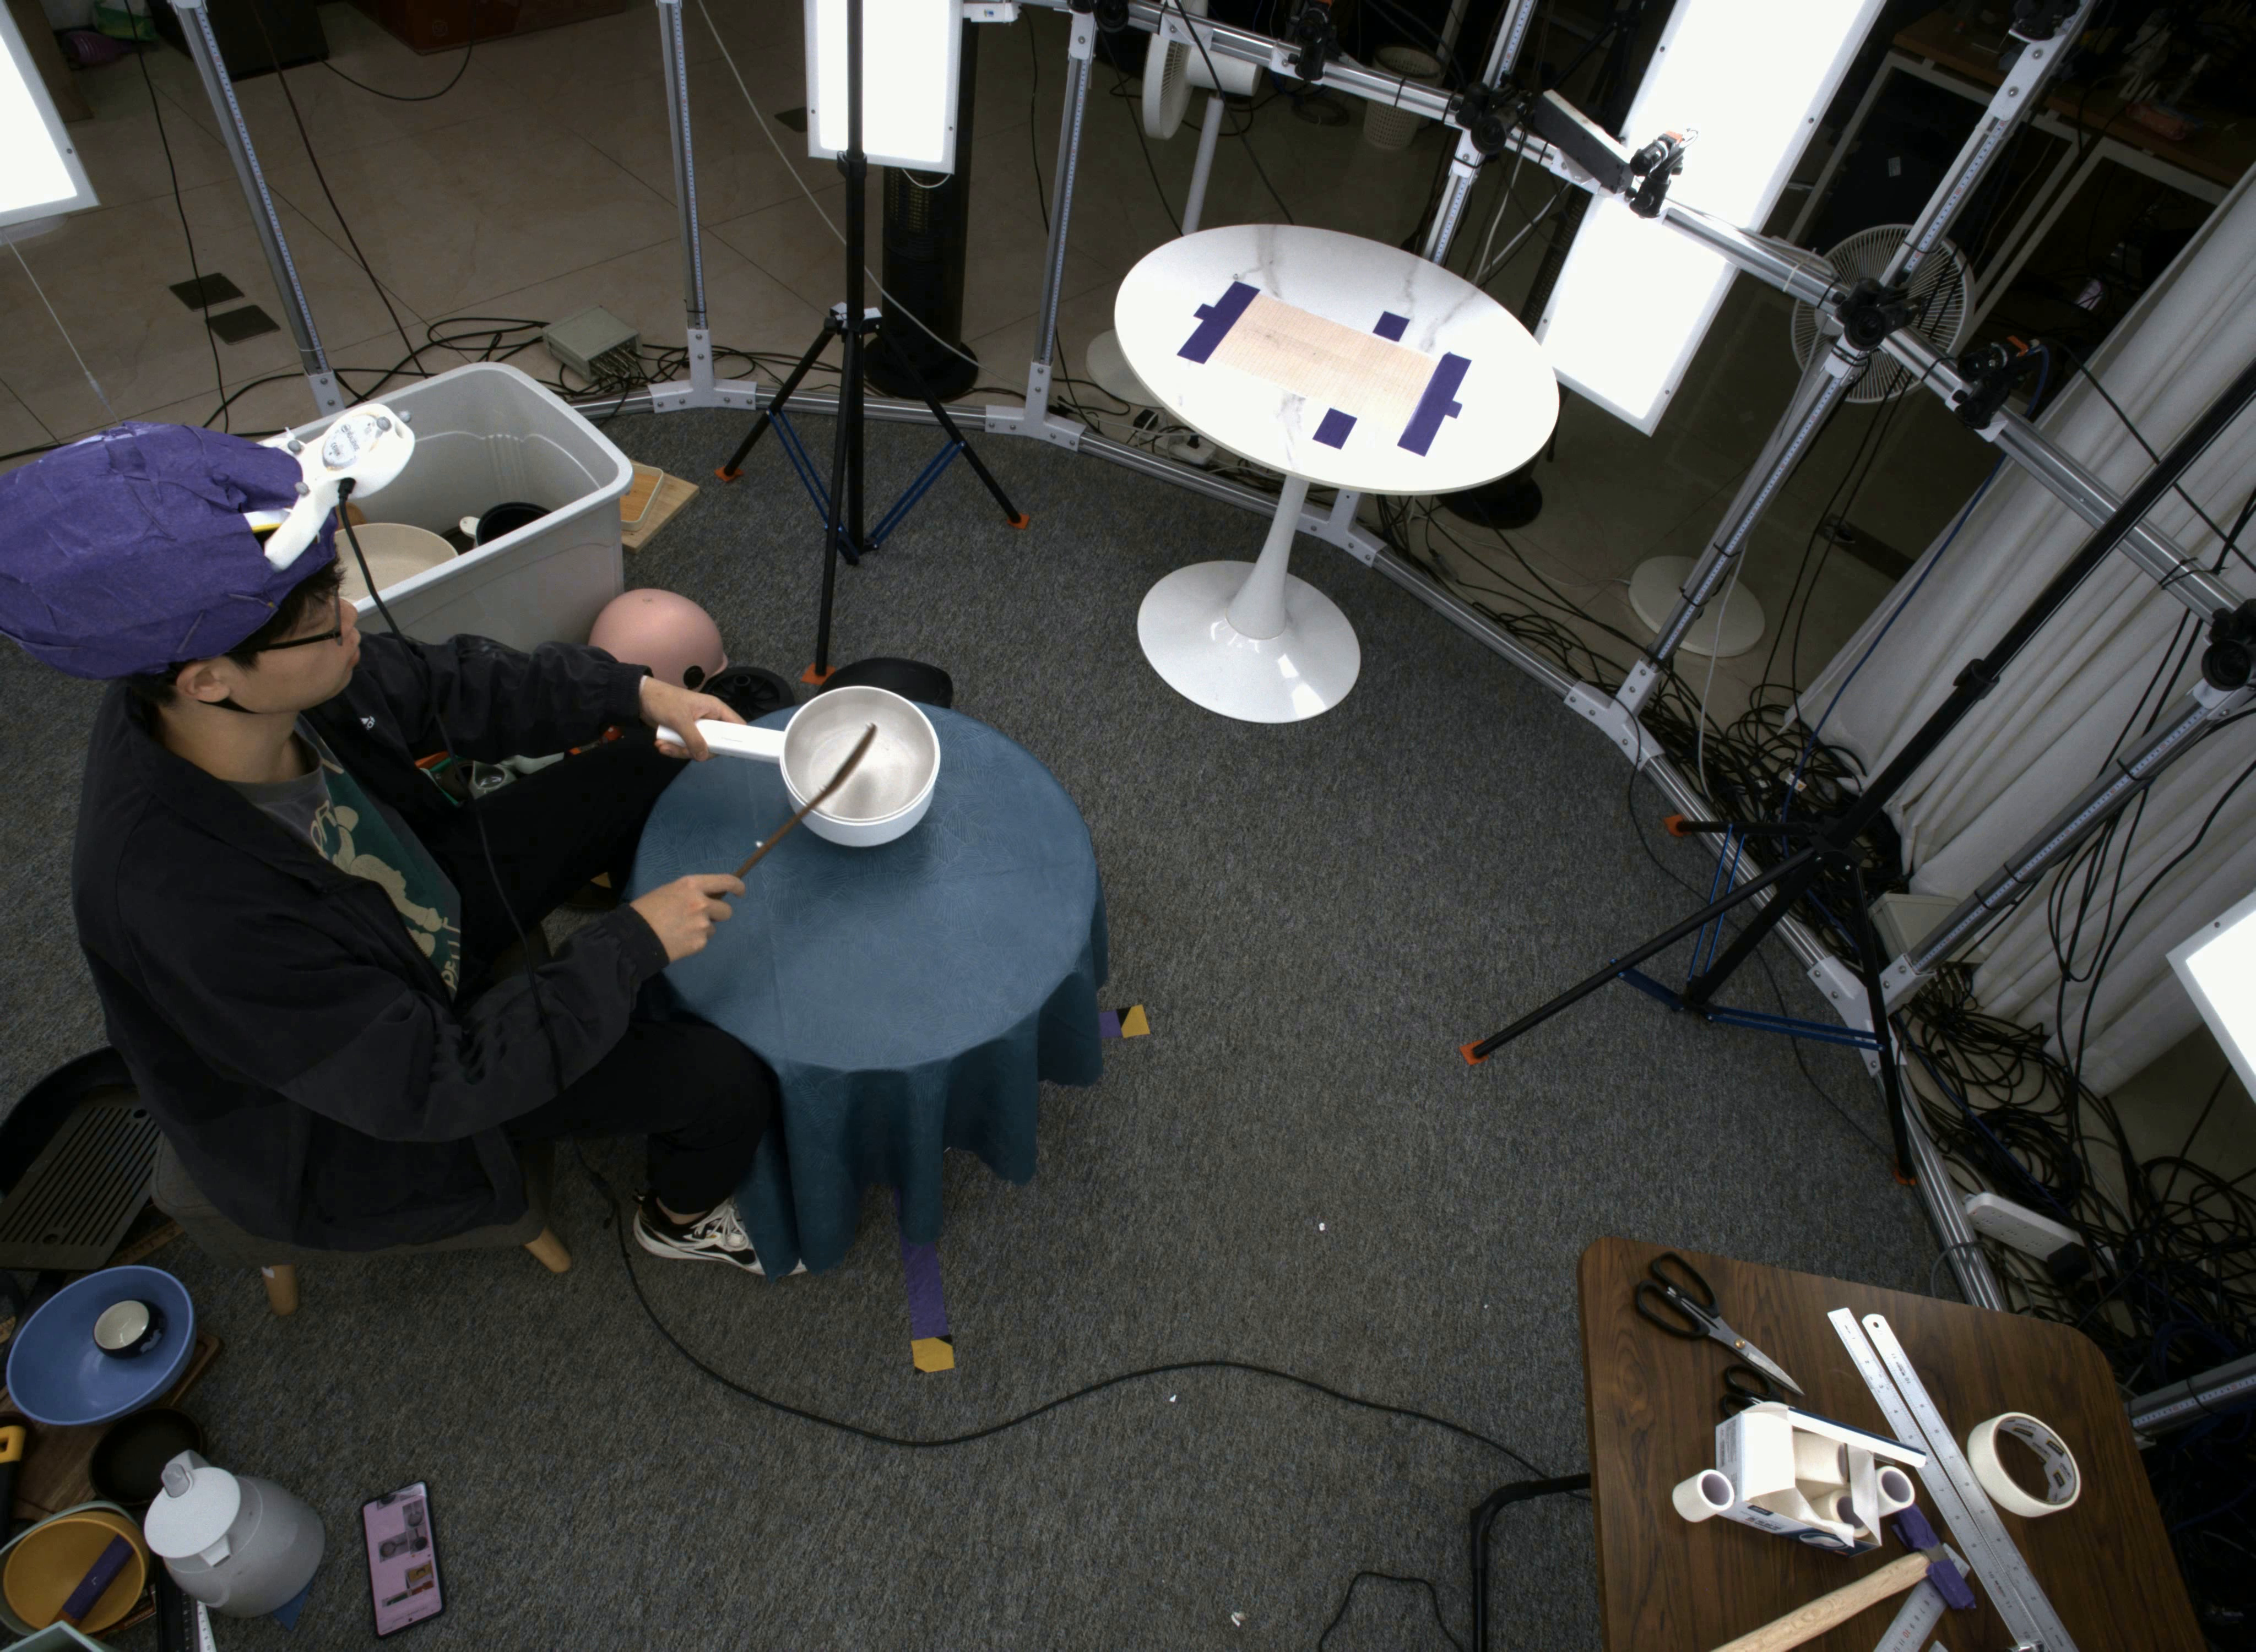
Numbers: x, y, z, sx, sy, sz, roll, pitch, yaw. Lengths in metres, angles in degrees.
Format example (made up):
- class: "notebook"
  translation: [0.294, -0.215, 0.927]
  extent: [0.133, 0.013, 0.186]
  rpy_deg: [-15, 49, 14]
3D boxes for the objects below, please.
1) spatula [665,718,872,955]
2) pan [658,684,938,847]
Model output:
- class: "spatula"
  translation: [-0.426, 0.009, 1.551]
  extent: [0.016, 0.096, 0.385]
  rpy_deg: [38, 57, -2]
- class: "pan"
  translation: [-0.424, -0.084, 1.679]
  extent: [0.354, 0.103, 0.199]
  rpy_deg: [8, 65, -8]
